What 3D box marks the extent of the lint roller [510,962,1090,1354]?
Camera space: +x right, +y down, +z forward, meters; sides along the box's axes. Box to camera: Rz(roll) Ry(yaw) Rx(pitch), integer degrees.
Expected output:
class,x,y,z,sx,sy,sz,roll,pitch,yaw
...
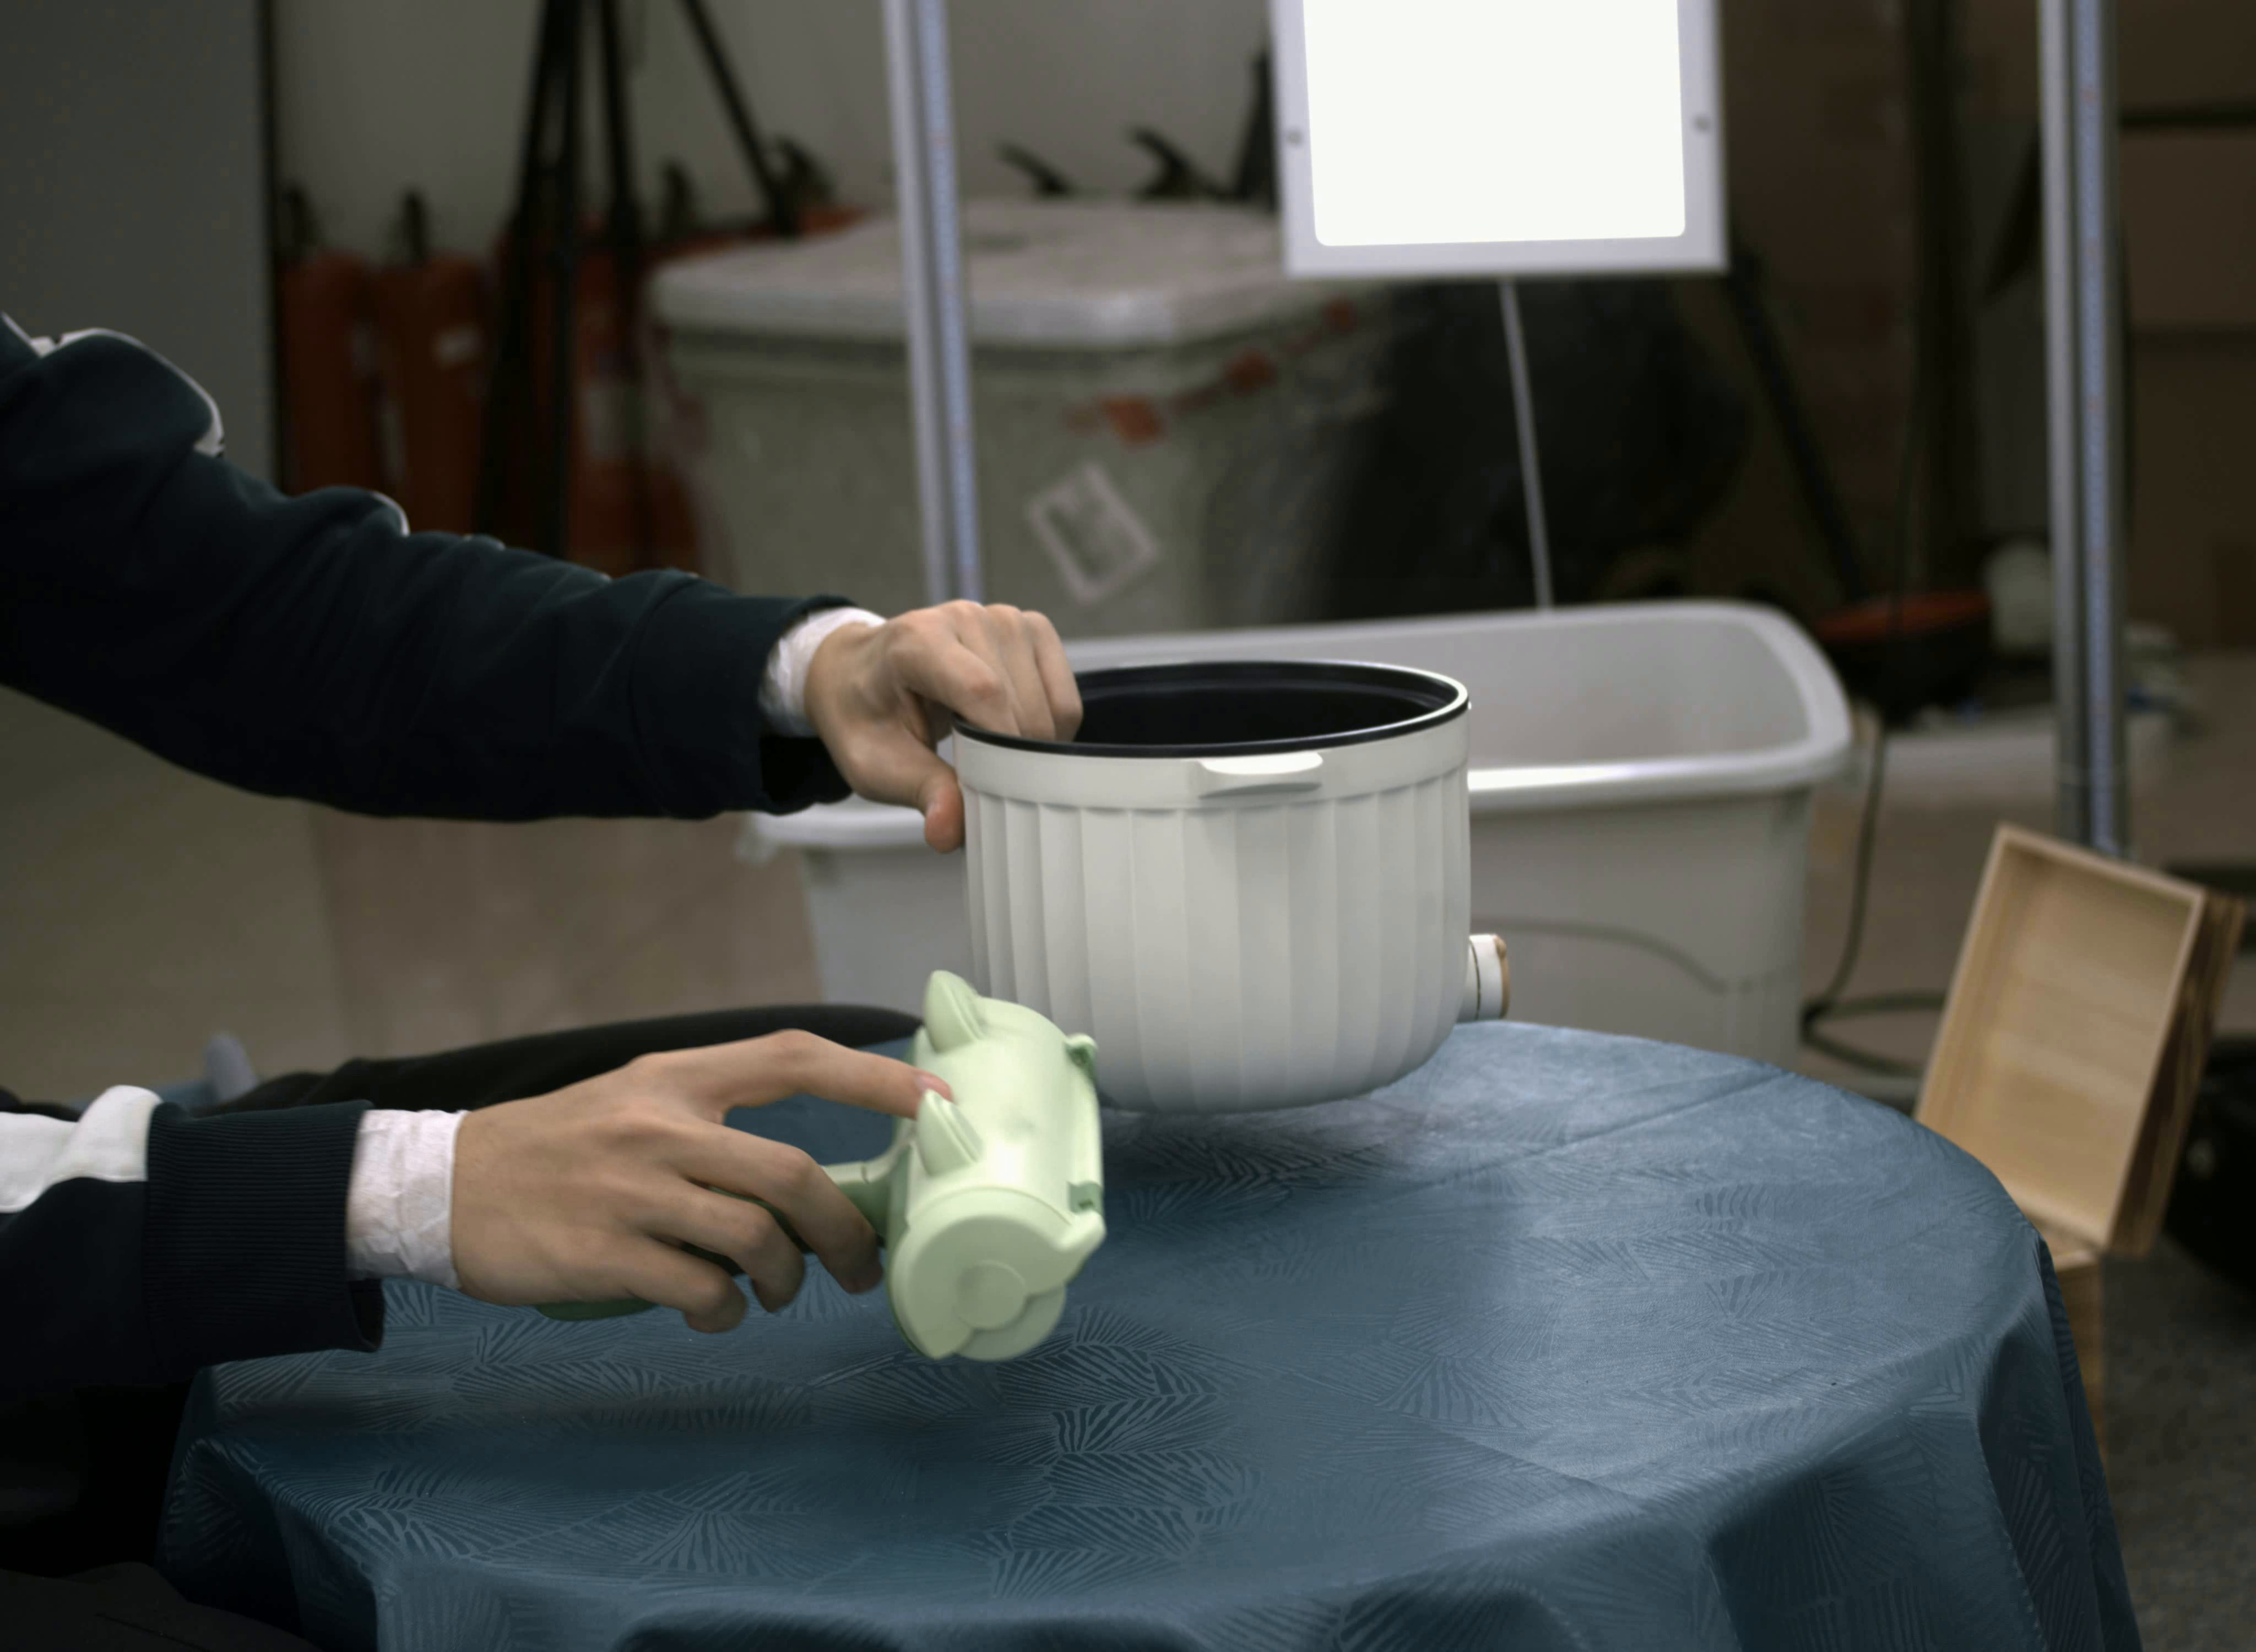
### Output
class,x,y,z,sx,sy,sz,roll,pitch,yaw
lint roller,-0.103,0.102,1.698,0.183,0.082,0.198,-5,16,2

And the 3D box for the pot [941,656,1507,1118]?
class,x,y,z,sx,sy,sz,roll,pitch,yaw
pot,0.035,0.020,1.924,0.189,0.143,0.241,-8,12,-7
